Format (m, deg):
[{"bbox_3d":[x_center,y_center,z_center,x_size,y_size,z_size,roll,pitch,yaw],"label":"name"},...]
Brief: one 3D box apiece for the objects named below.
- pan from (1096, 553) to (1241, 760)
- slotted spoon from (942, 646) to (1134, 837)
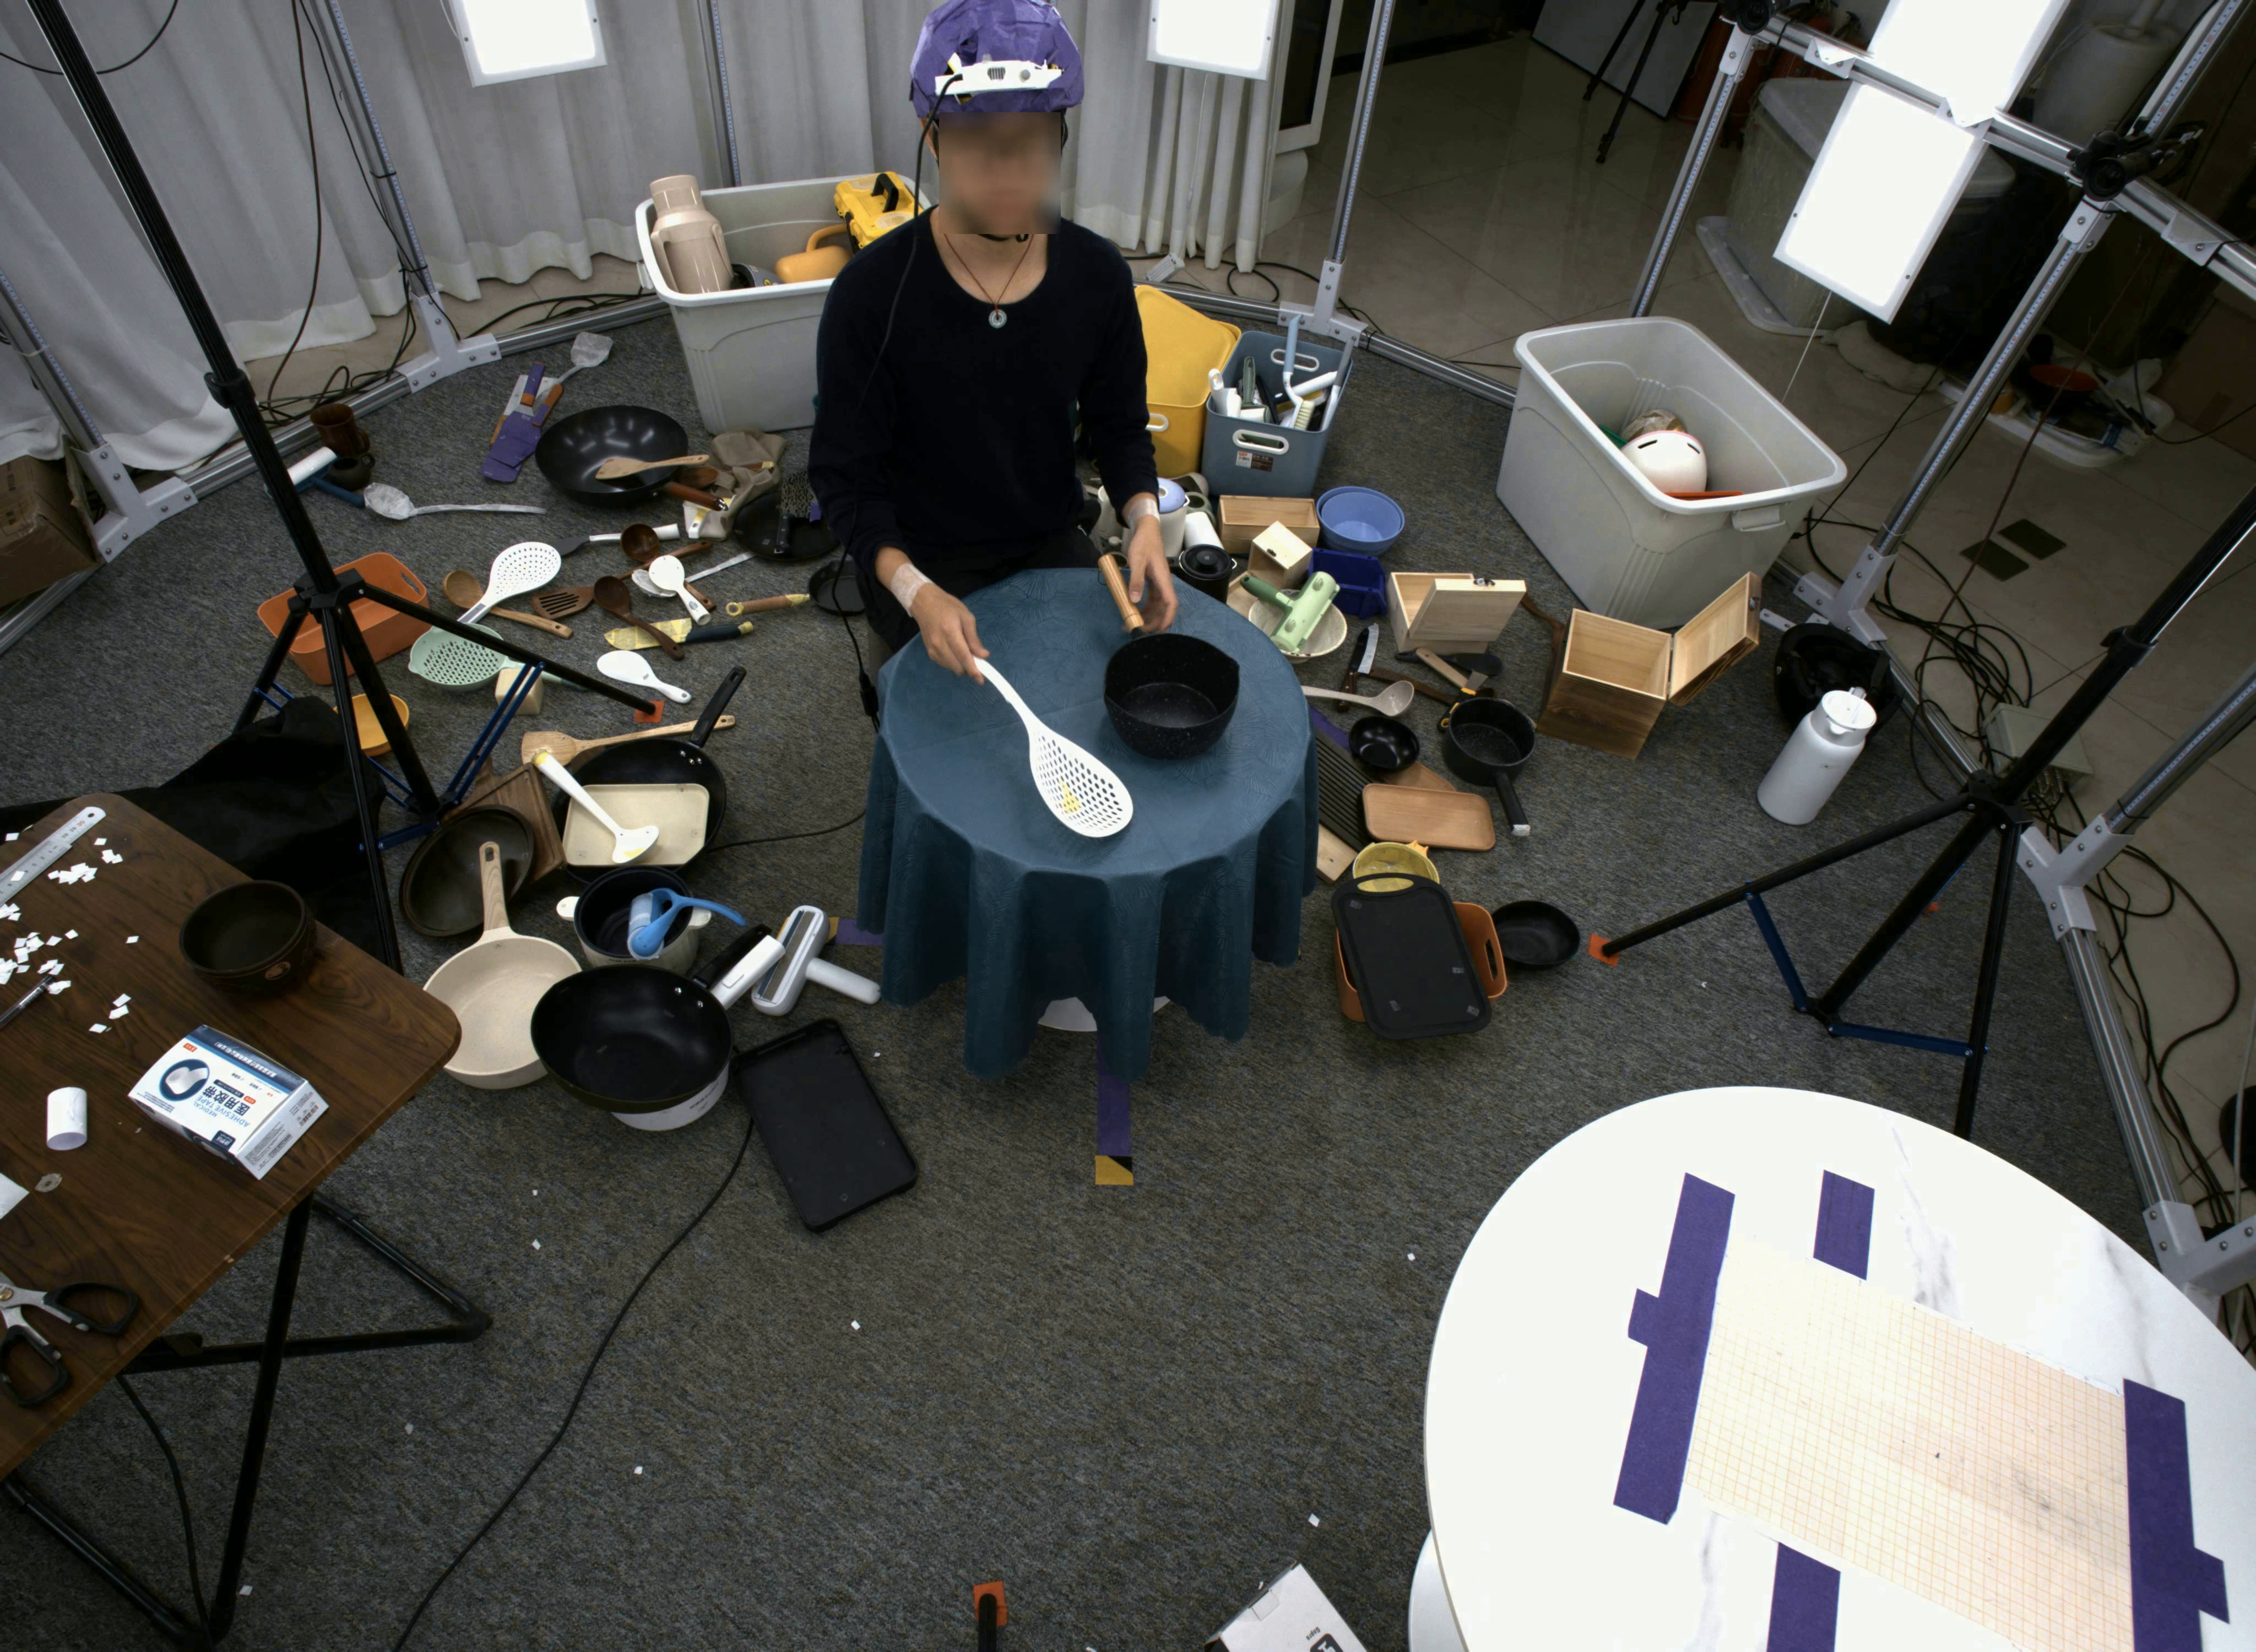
[{"bbox_3d":[0.027,-0.239,1.808,0.207,0.105,0.351,-17,53,-16],"label":"pan"},{"bbox_3d":[-0.127,-0.119,1.684,0.137,0.049,0.351,-24,72,-45],"label":"slotted spoon"}]
